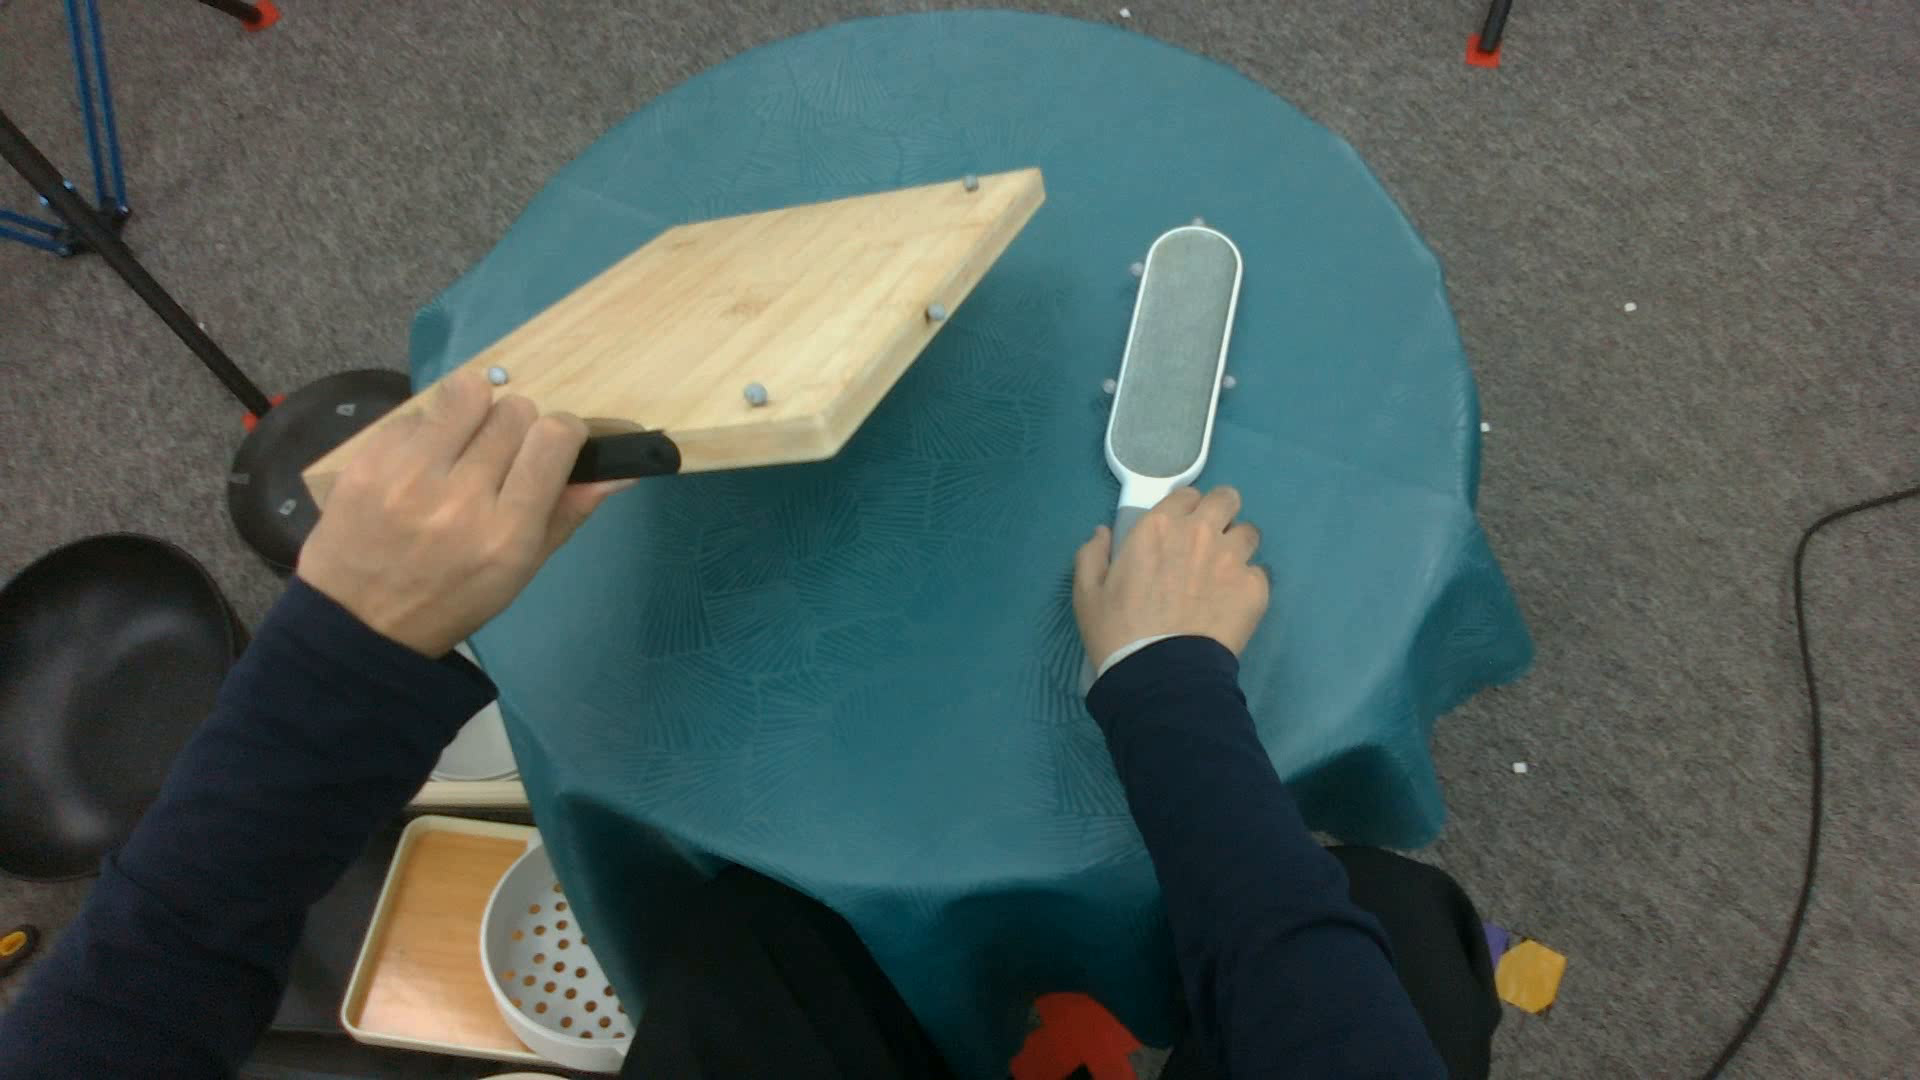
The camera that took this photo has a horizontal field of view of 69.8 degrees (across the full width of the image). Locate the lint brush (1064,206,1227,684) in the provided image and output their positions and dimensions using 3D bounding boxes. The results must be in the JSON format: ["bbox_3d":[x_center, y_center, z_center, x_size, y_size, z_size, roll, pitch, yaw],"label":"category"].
[{"bbox_3d":[0.098,-0.063,0.755,0.060,0.021,0.310,14,63,3],"label":"lint brush"}]

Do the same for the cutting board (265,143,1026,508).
[{"bbox_3d":[-0.123,-0.116,0.666,0.250,0.023,0.350,-6,27,20],"label":"cutting board"}]
